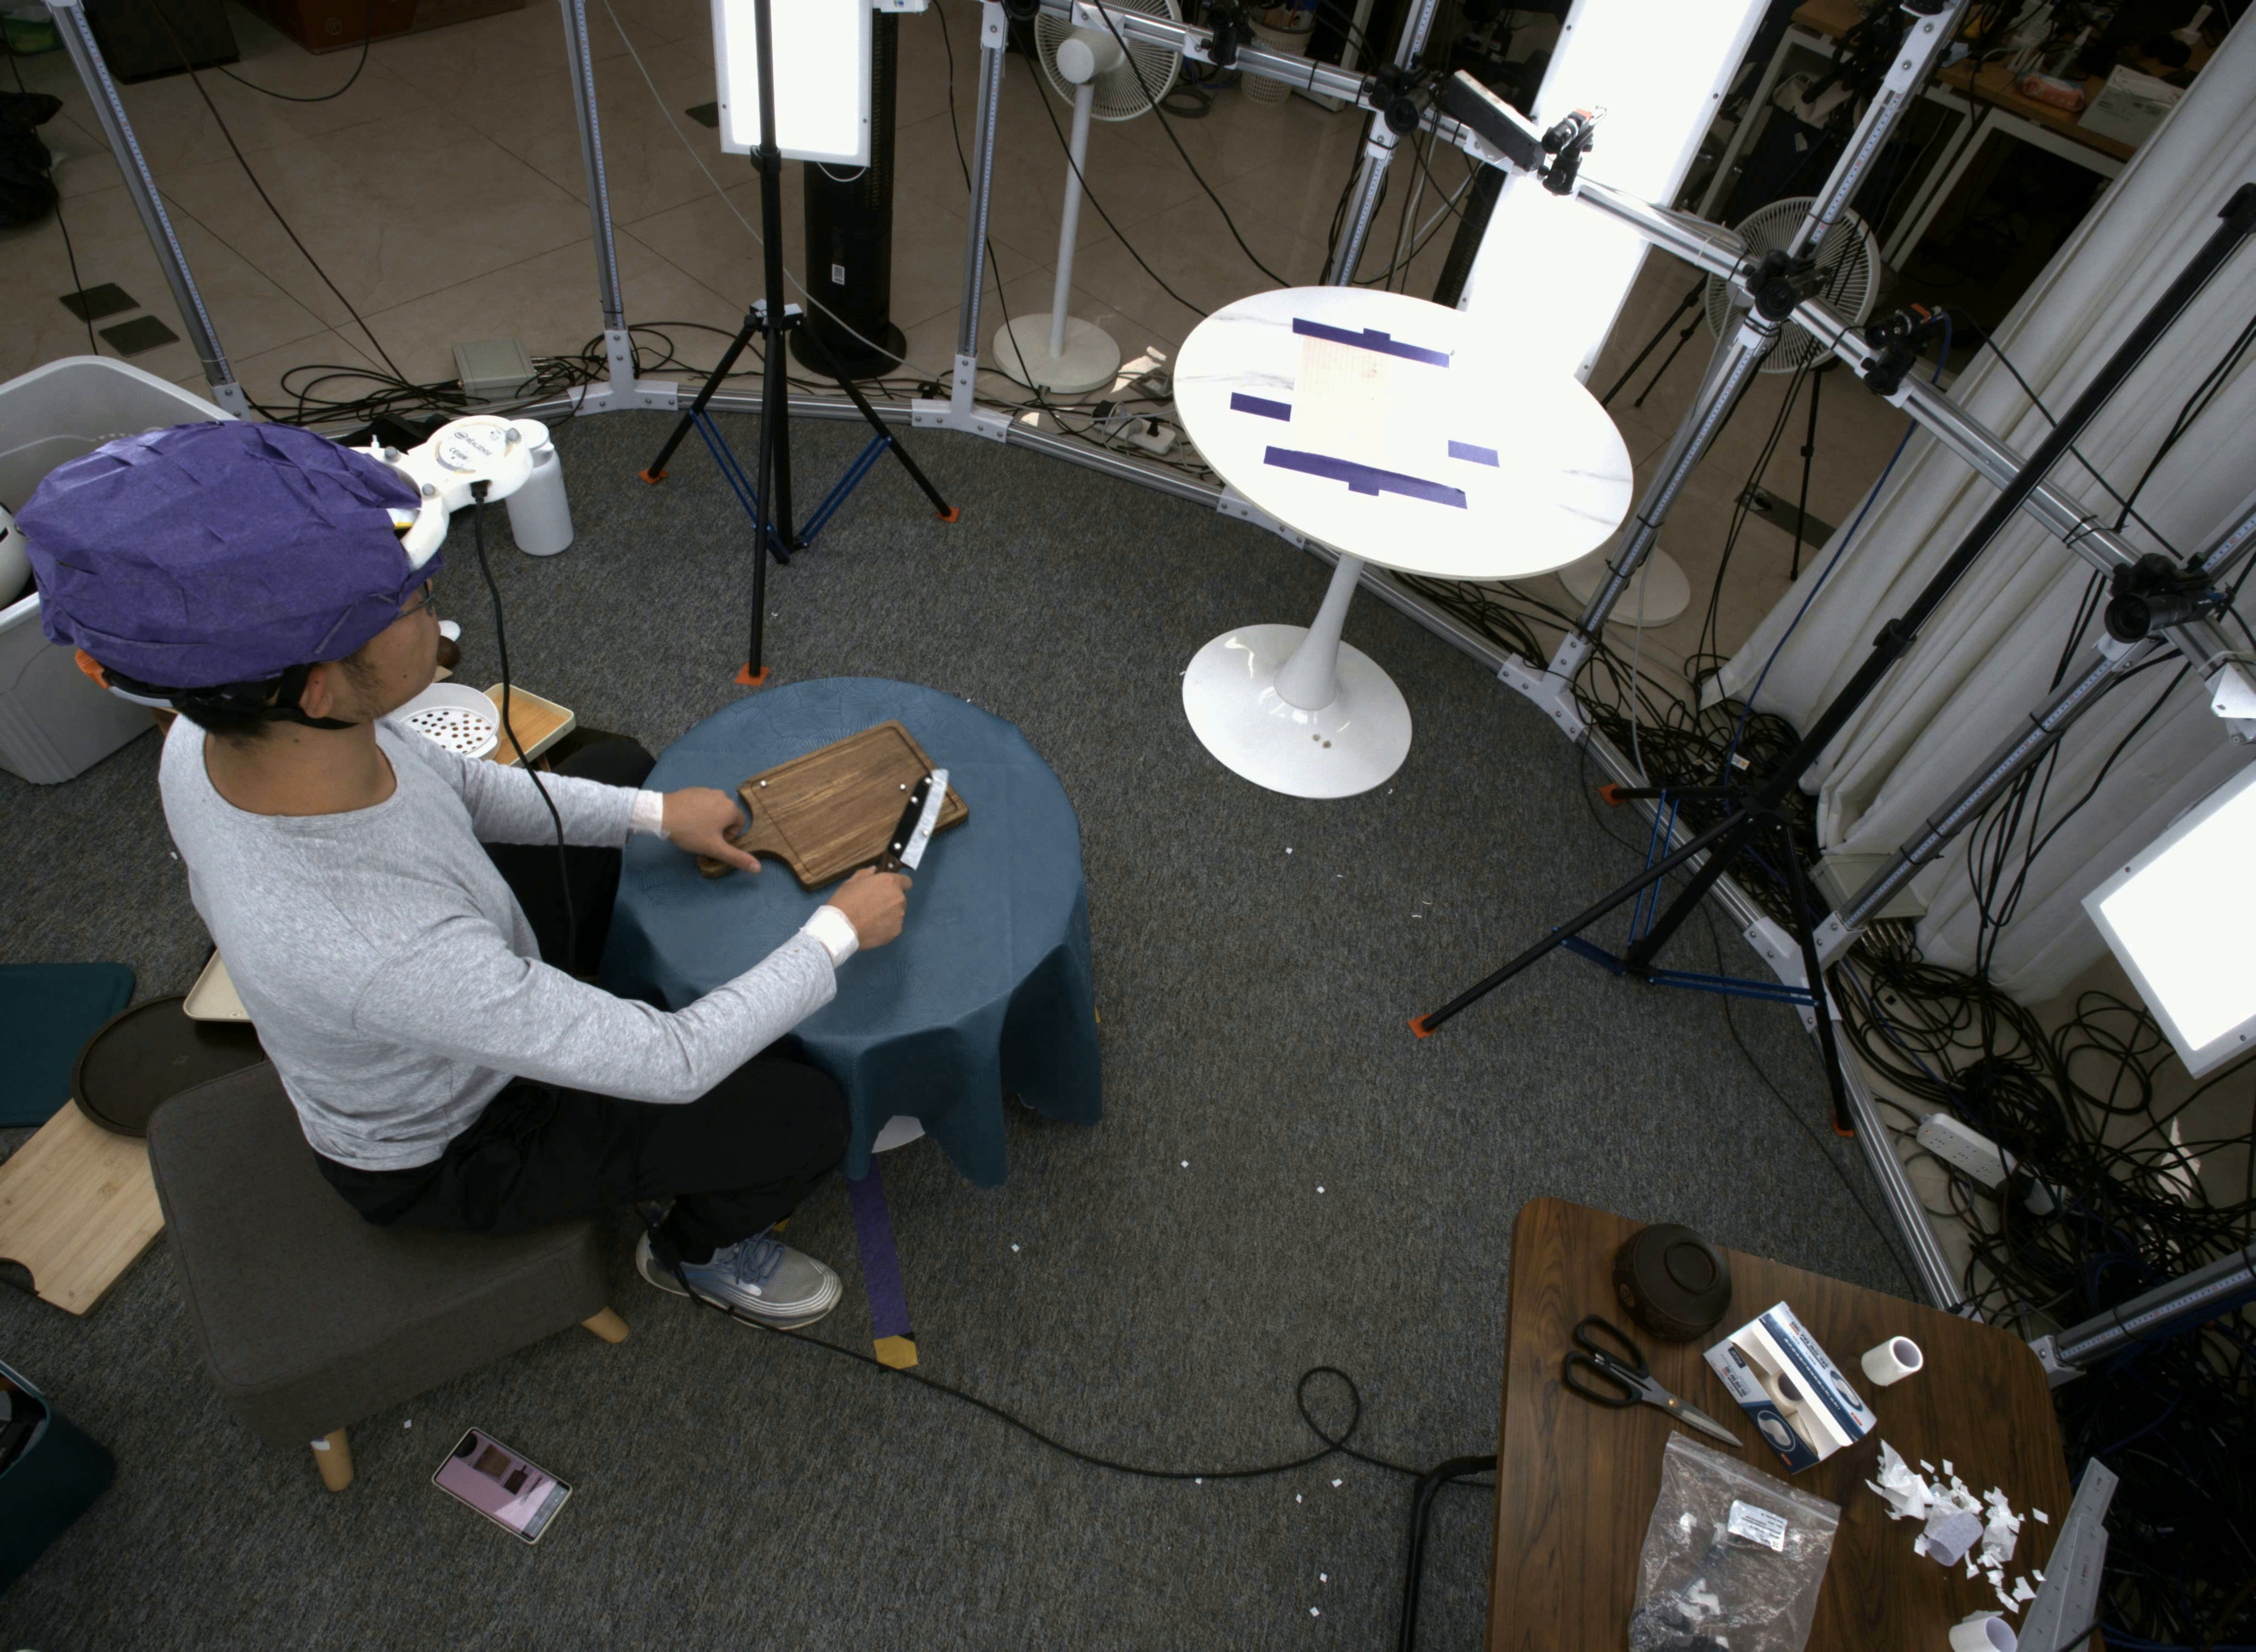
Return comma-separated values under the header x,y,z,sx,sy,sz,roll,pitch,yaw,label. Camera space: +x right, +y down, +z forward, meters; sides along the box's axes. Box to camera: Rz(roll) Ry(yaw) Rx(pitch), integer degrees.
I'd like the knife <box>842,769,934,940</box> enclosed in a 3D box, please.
x,y,z,sx,sy,sz,roll,pitch,yaw,label
-0.299,0.029,1.642,0.051,0.020,0.286,34,48,-18,knife

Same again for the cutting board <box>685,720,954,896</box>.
x,y,z,sx,sy,sz,roll,pitch,yaw,label
-0.428,-0.012,1.730,0.353,0.023,0.196,-28,64,-30,cutting board
